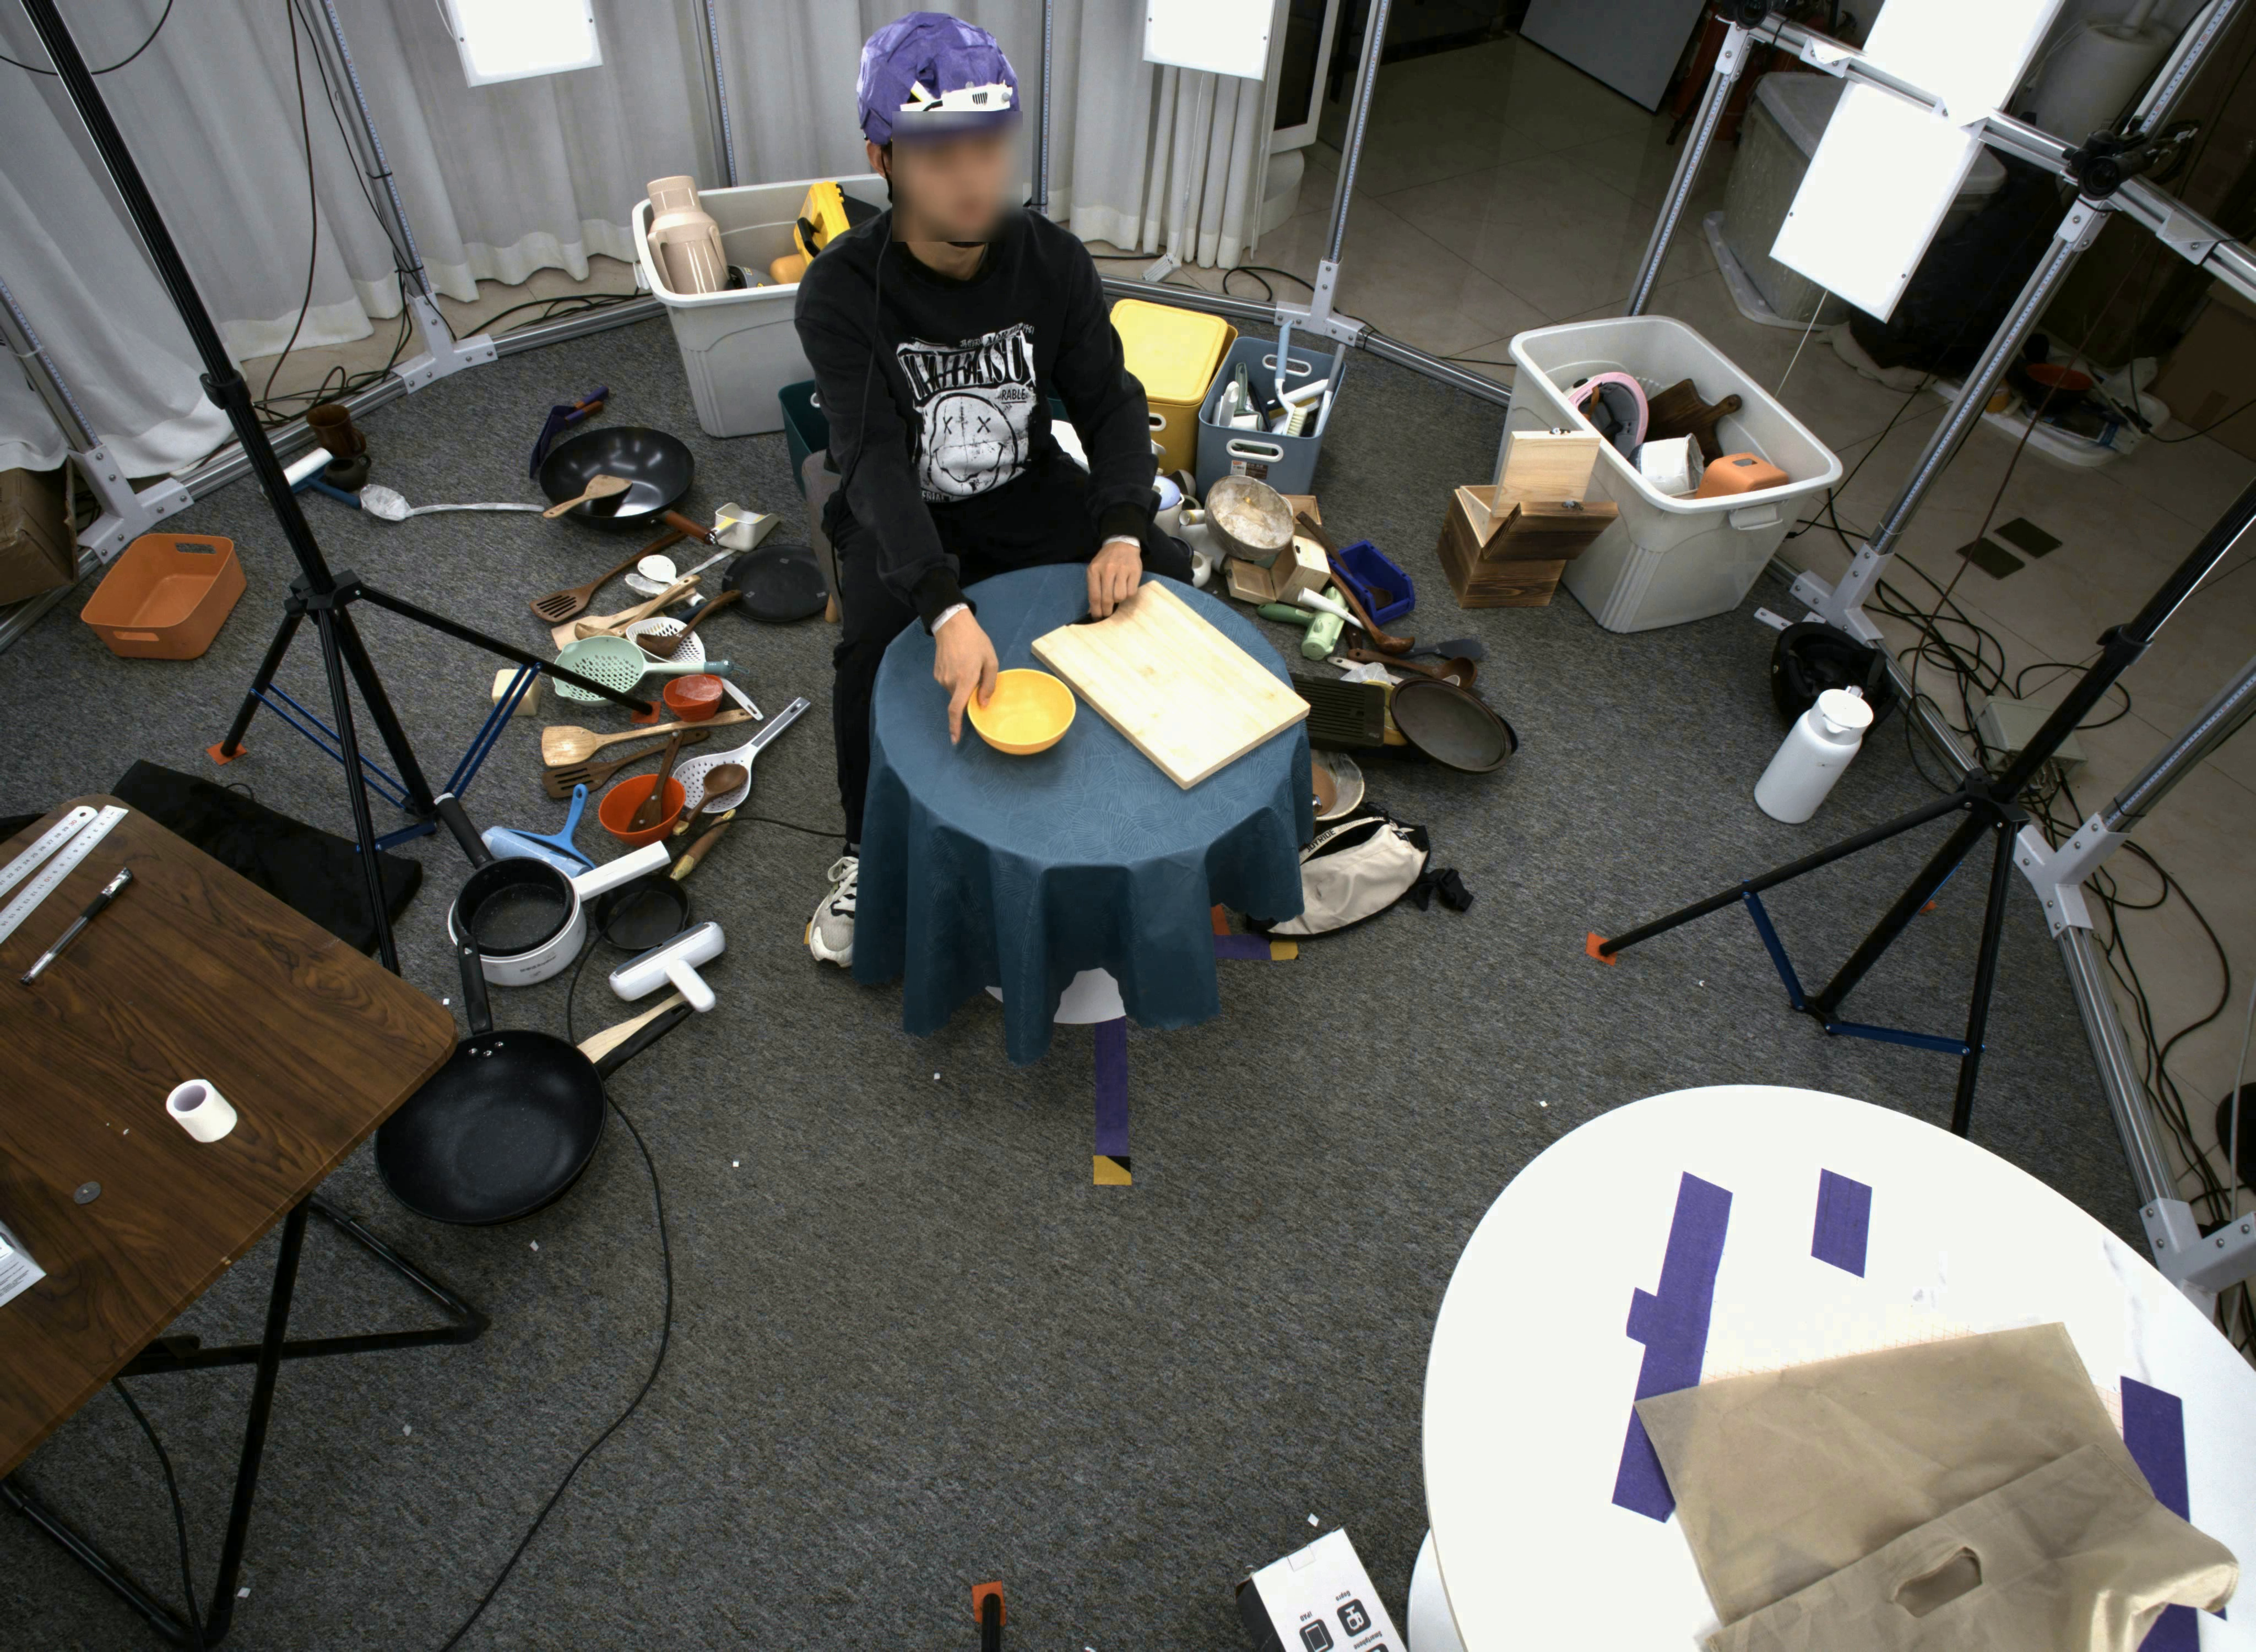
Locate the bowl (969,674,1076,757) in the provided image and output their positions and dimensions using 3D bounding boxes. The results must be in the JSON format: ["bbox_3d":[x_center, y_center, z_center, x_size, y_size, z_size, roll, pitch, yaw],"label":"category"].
[{"bbox_3d":[-0.145,-0.141,1.761,0.145,0.058,0.149,3,46,-3],"label":"bowl"}]

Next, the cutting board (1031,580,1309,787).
[{"bbox_3d":[0.057,-0.216,1.866,0.252,0.023,0.354,-31,58,-28],"label":"cutting board"}]
